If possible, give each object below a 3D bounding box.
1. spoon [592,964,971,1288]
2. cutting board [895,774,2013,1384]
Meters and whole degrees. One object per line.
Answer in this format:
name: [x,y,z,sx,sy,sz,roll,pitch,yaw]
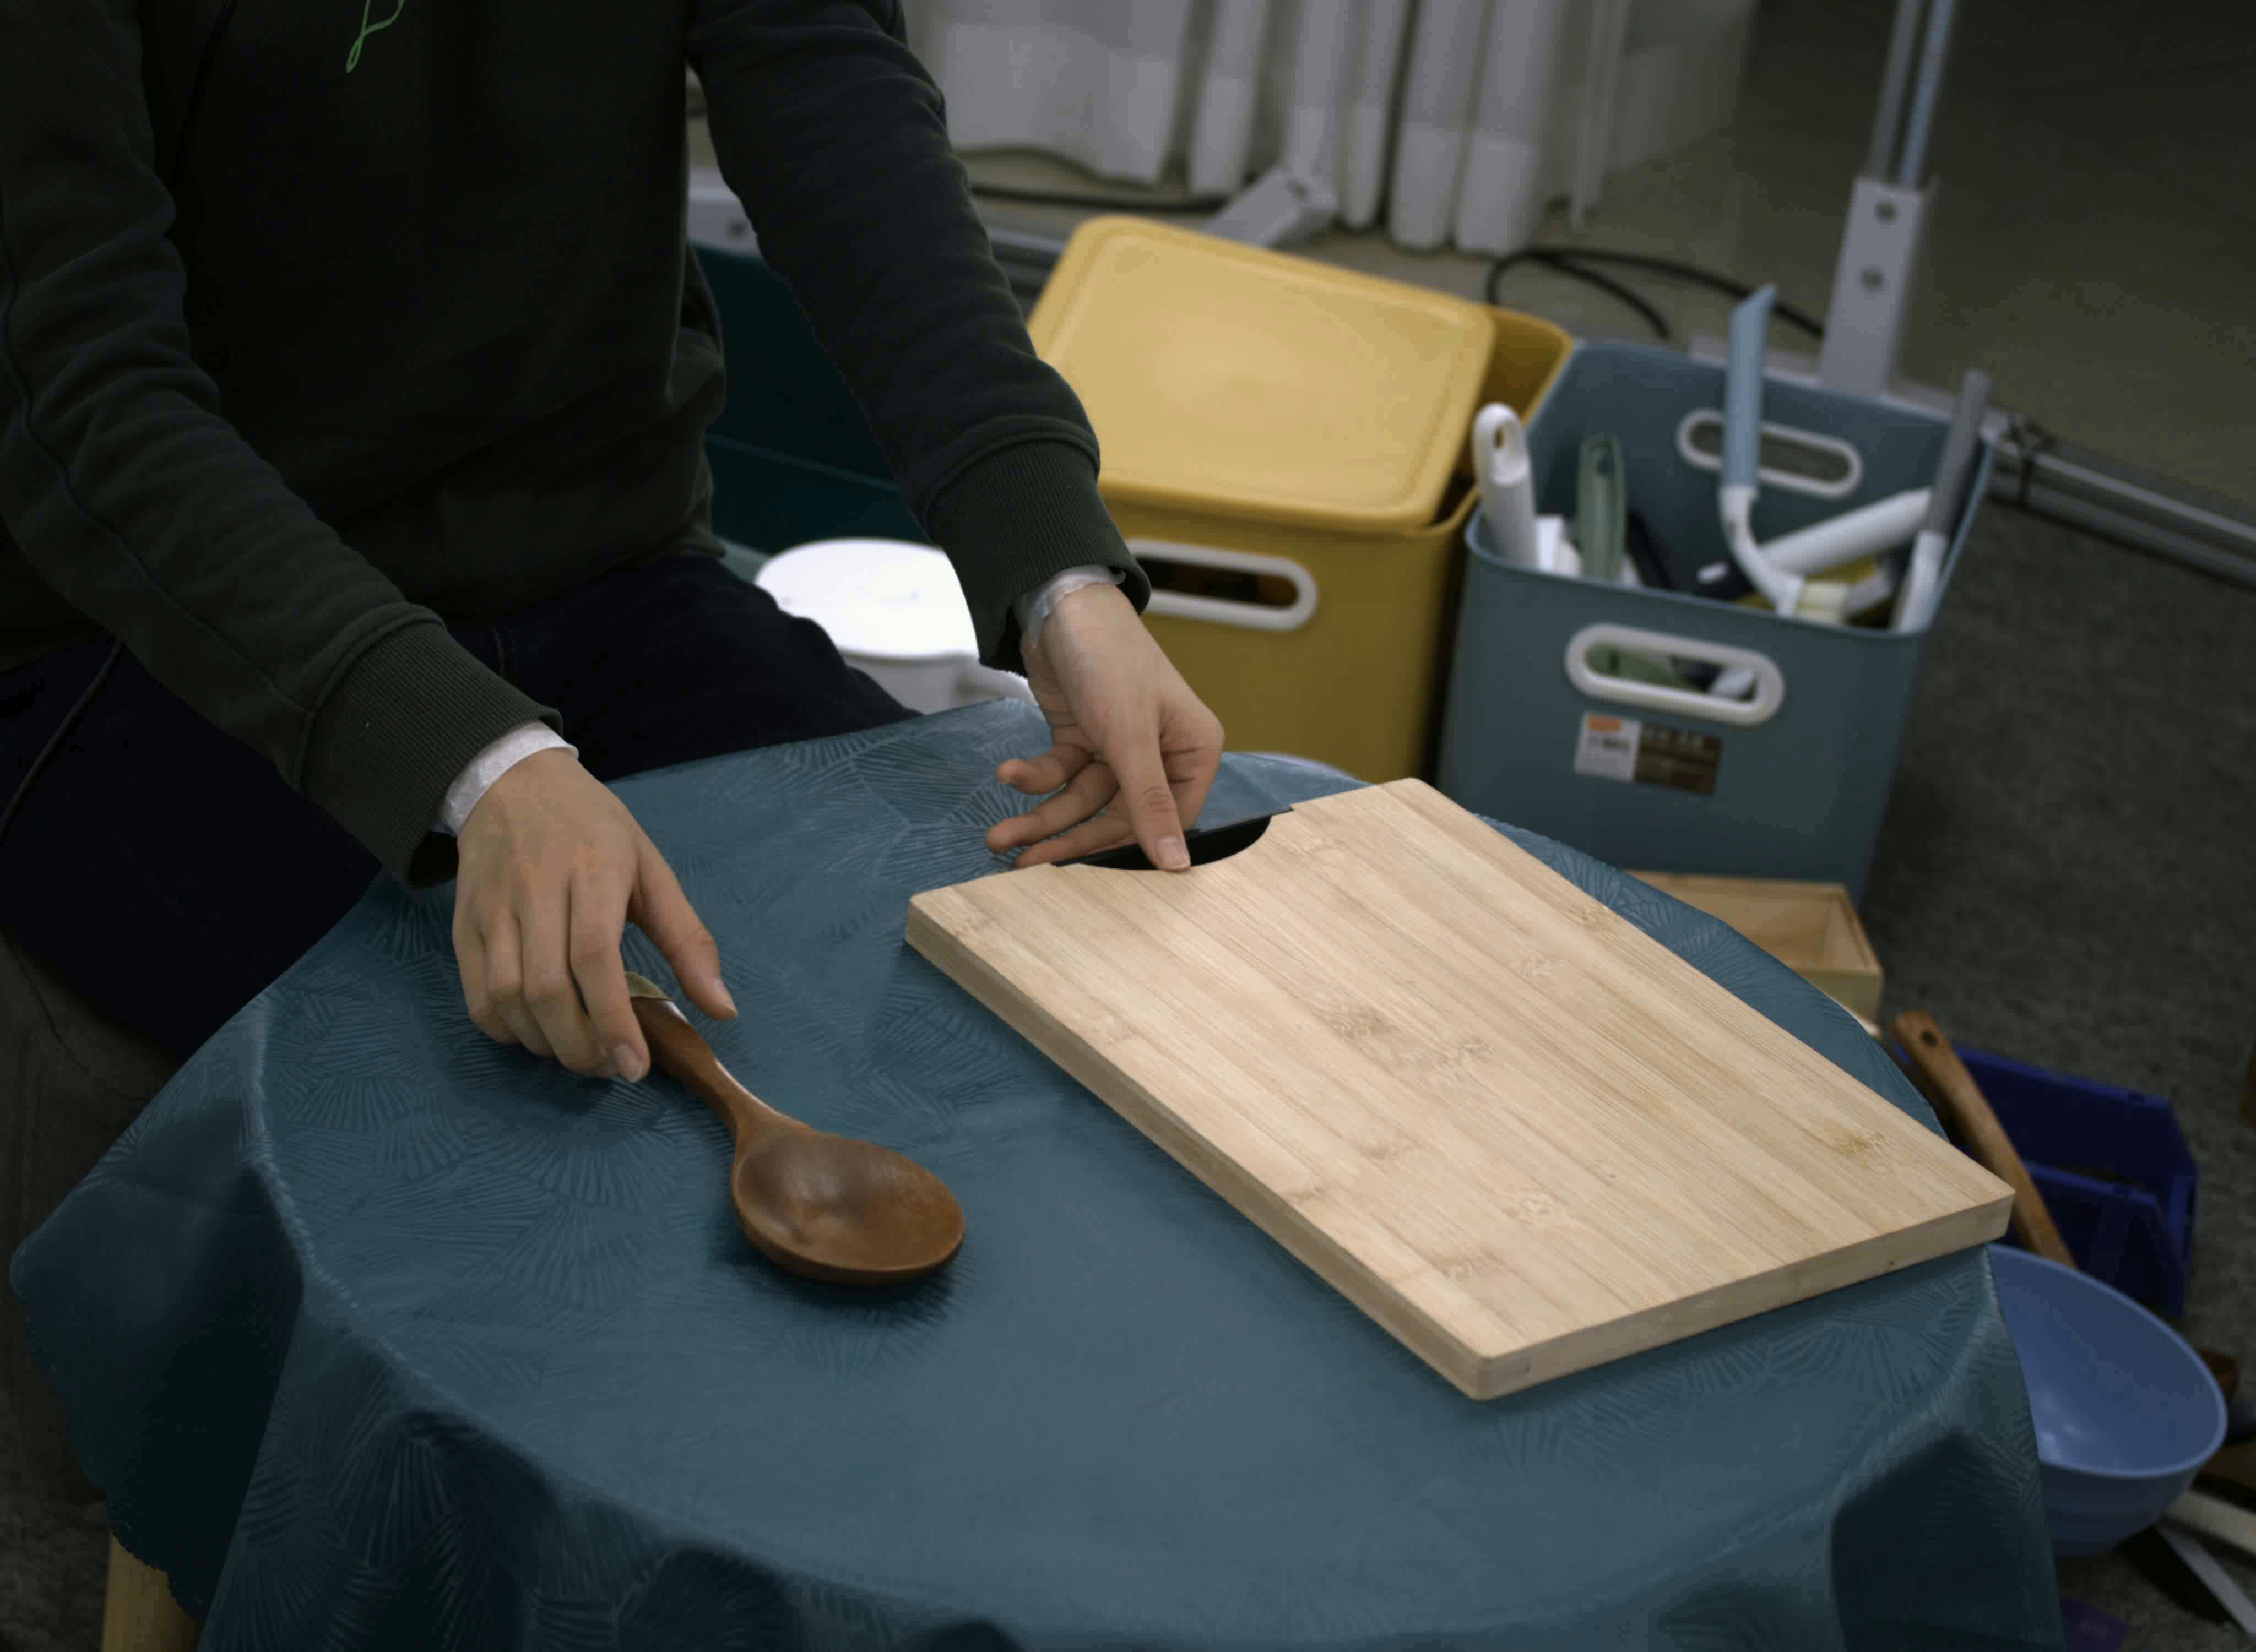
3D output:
spoon: [-0.125,0.101,1.796,0.075,0.017,0.218,-12,33,-29]
cutting board: [0.109,0.082,1.890,0.249,0.023,0.352,-13,32,-34]
